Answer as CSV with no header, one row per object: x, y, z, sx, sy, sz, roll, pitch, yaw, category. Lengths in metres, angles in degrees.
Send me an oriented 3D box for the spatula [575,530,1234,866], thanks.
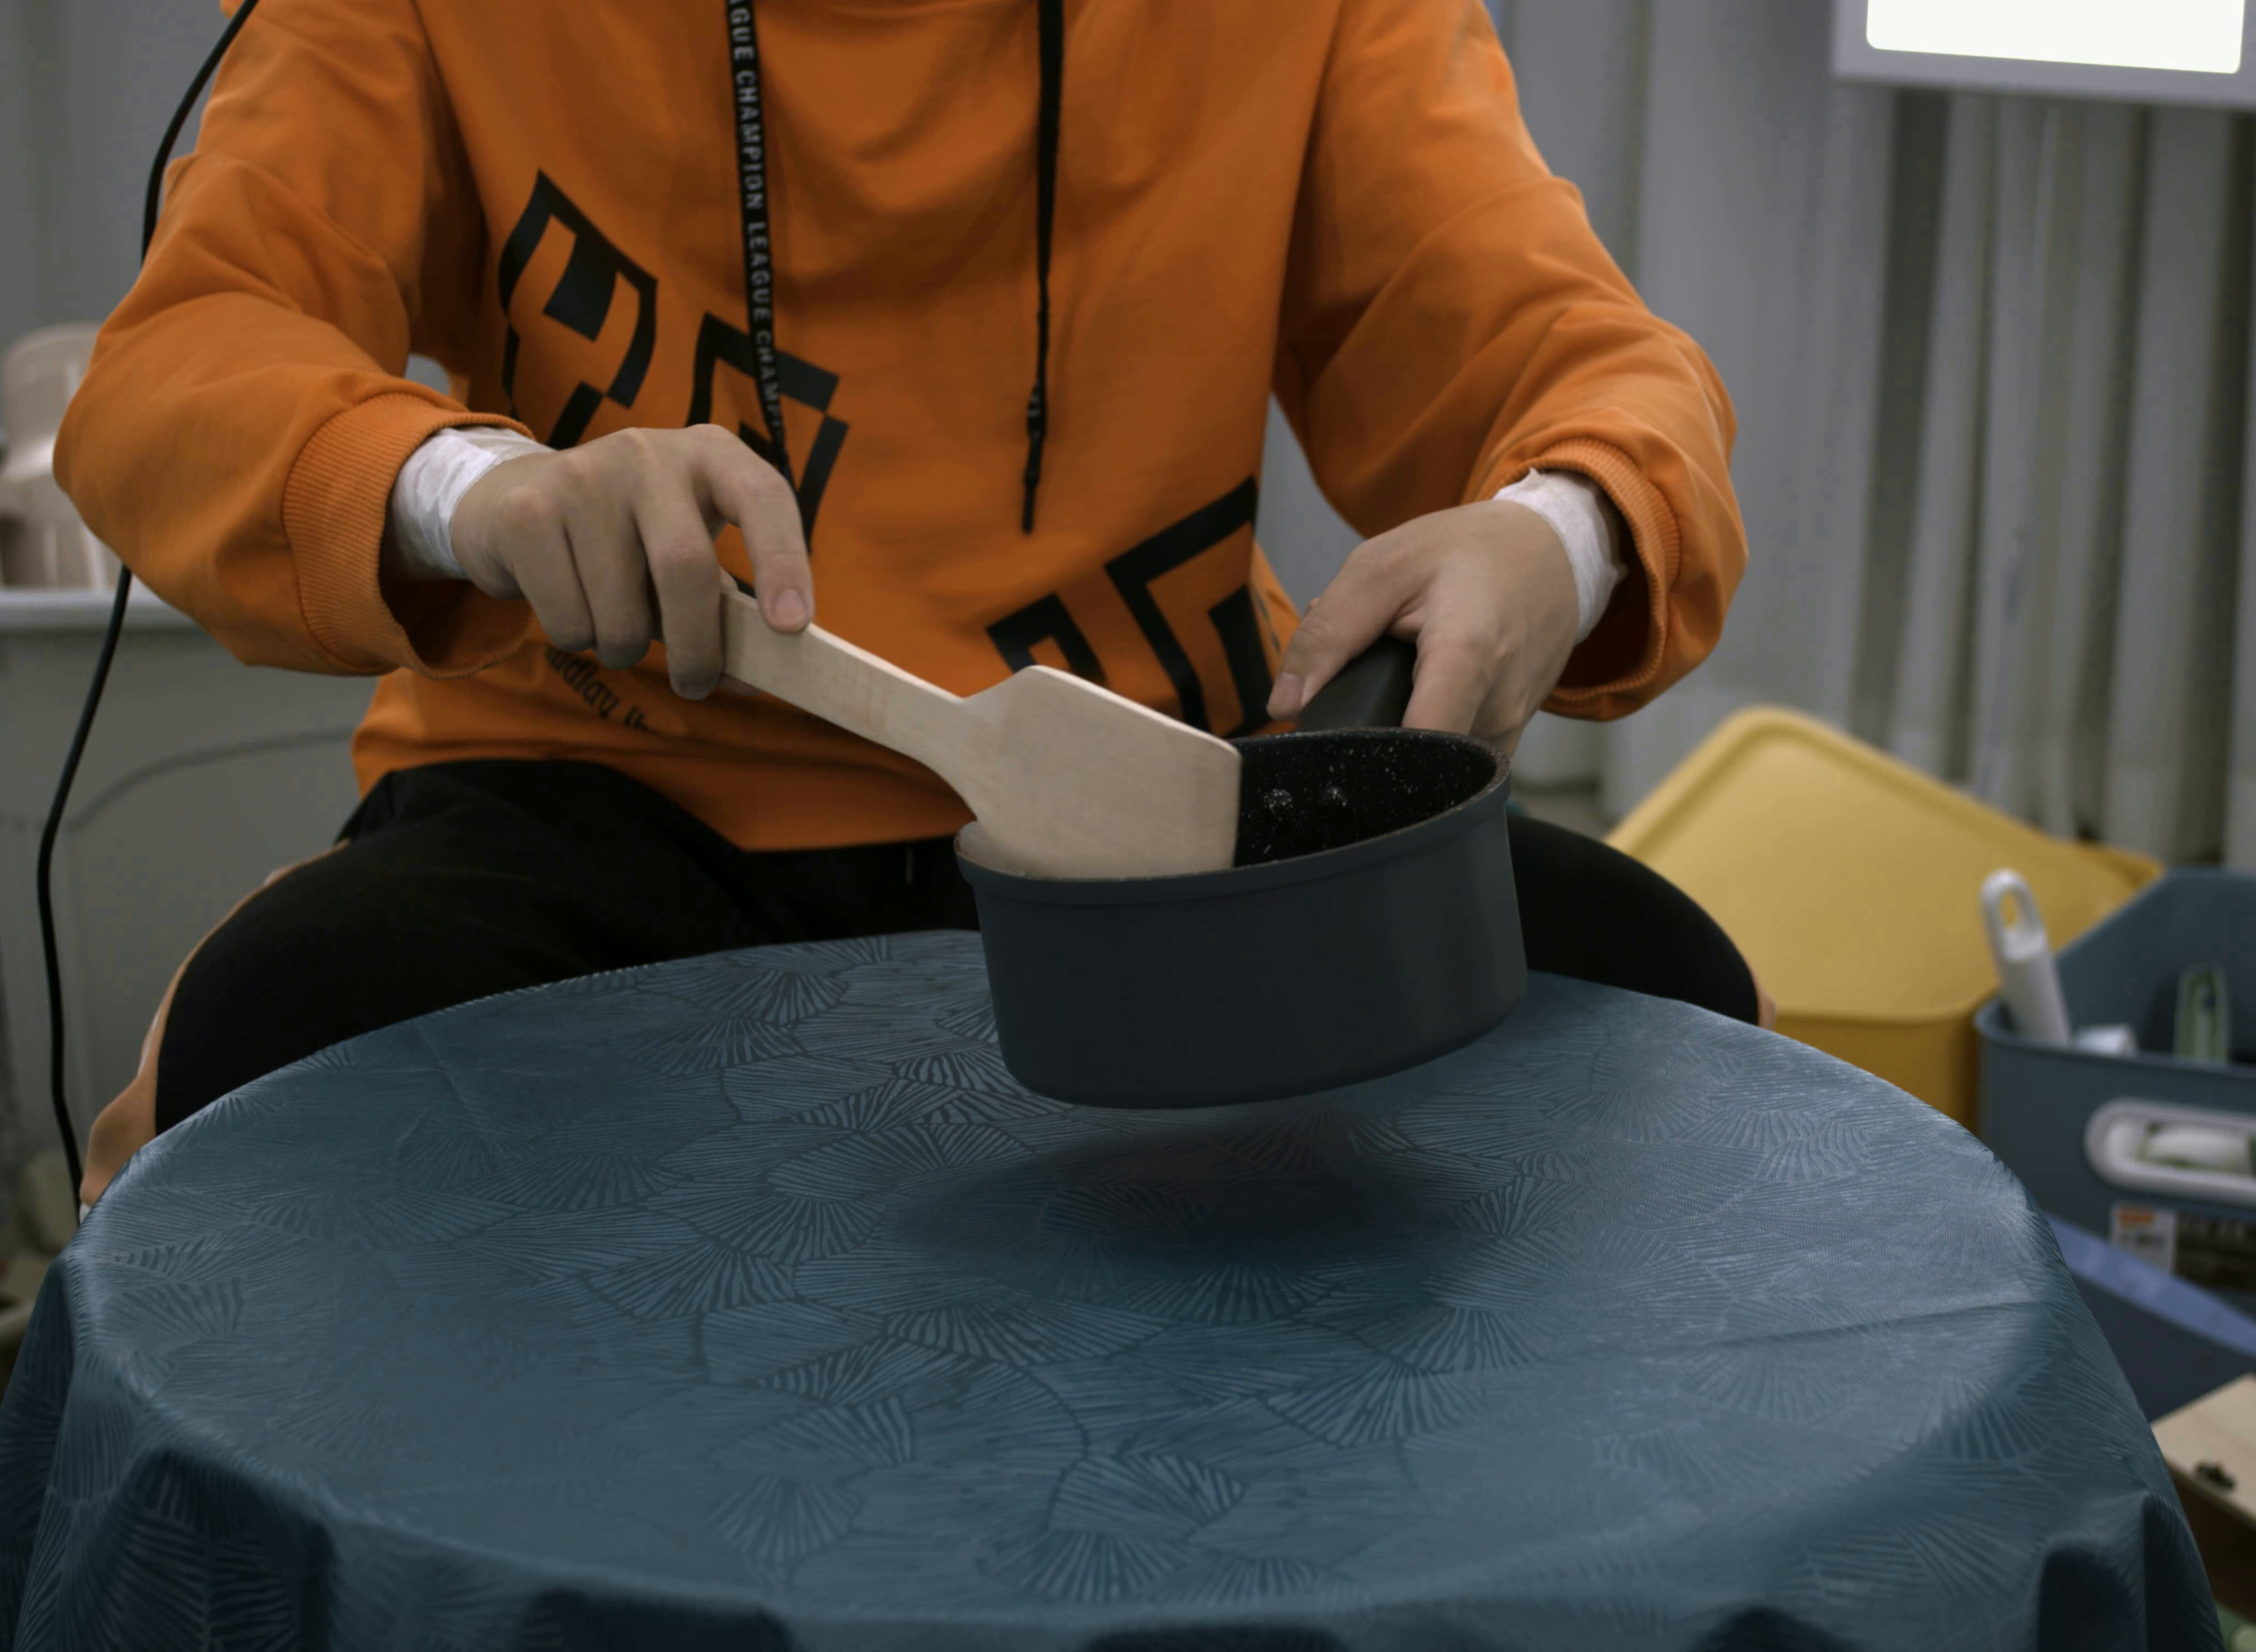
-0.076,-0.041,1.620,0.289,0.073,0.011,24,31,38,spatula

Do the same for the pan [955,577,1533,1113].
0.062,0.003,1.673,0.170,0.087,0.328,-2,16,20,pan
